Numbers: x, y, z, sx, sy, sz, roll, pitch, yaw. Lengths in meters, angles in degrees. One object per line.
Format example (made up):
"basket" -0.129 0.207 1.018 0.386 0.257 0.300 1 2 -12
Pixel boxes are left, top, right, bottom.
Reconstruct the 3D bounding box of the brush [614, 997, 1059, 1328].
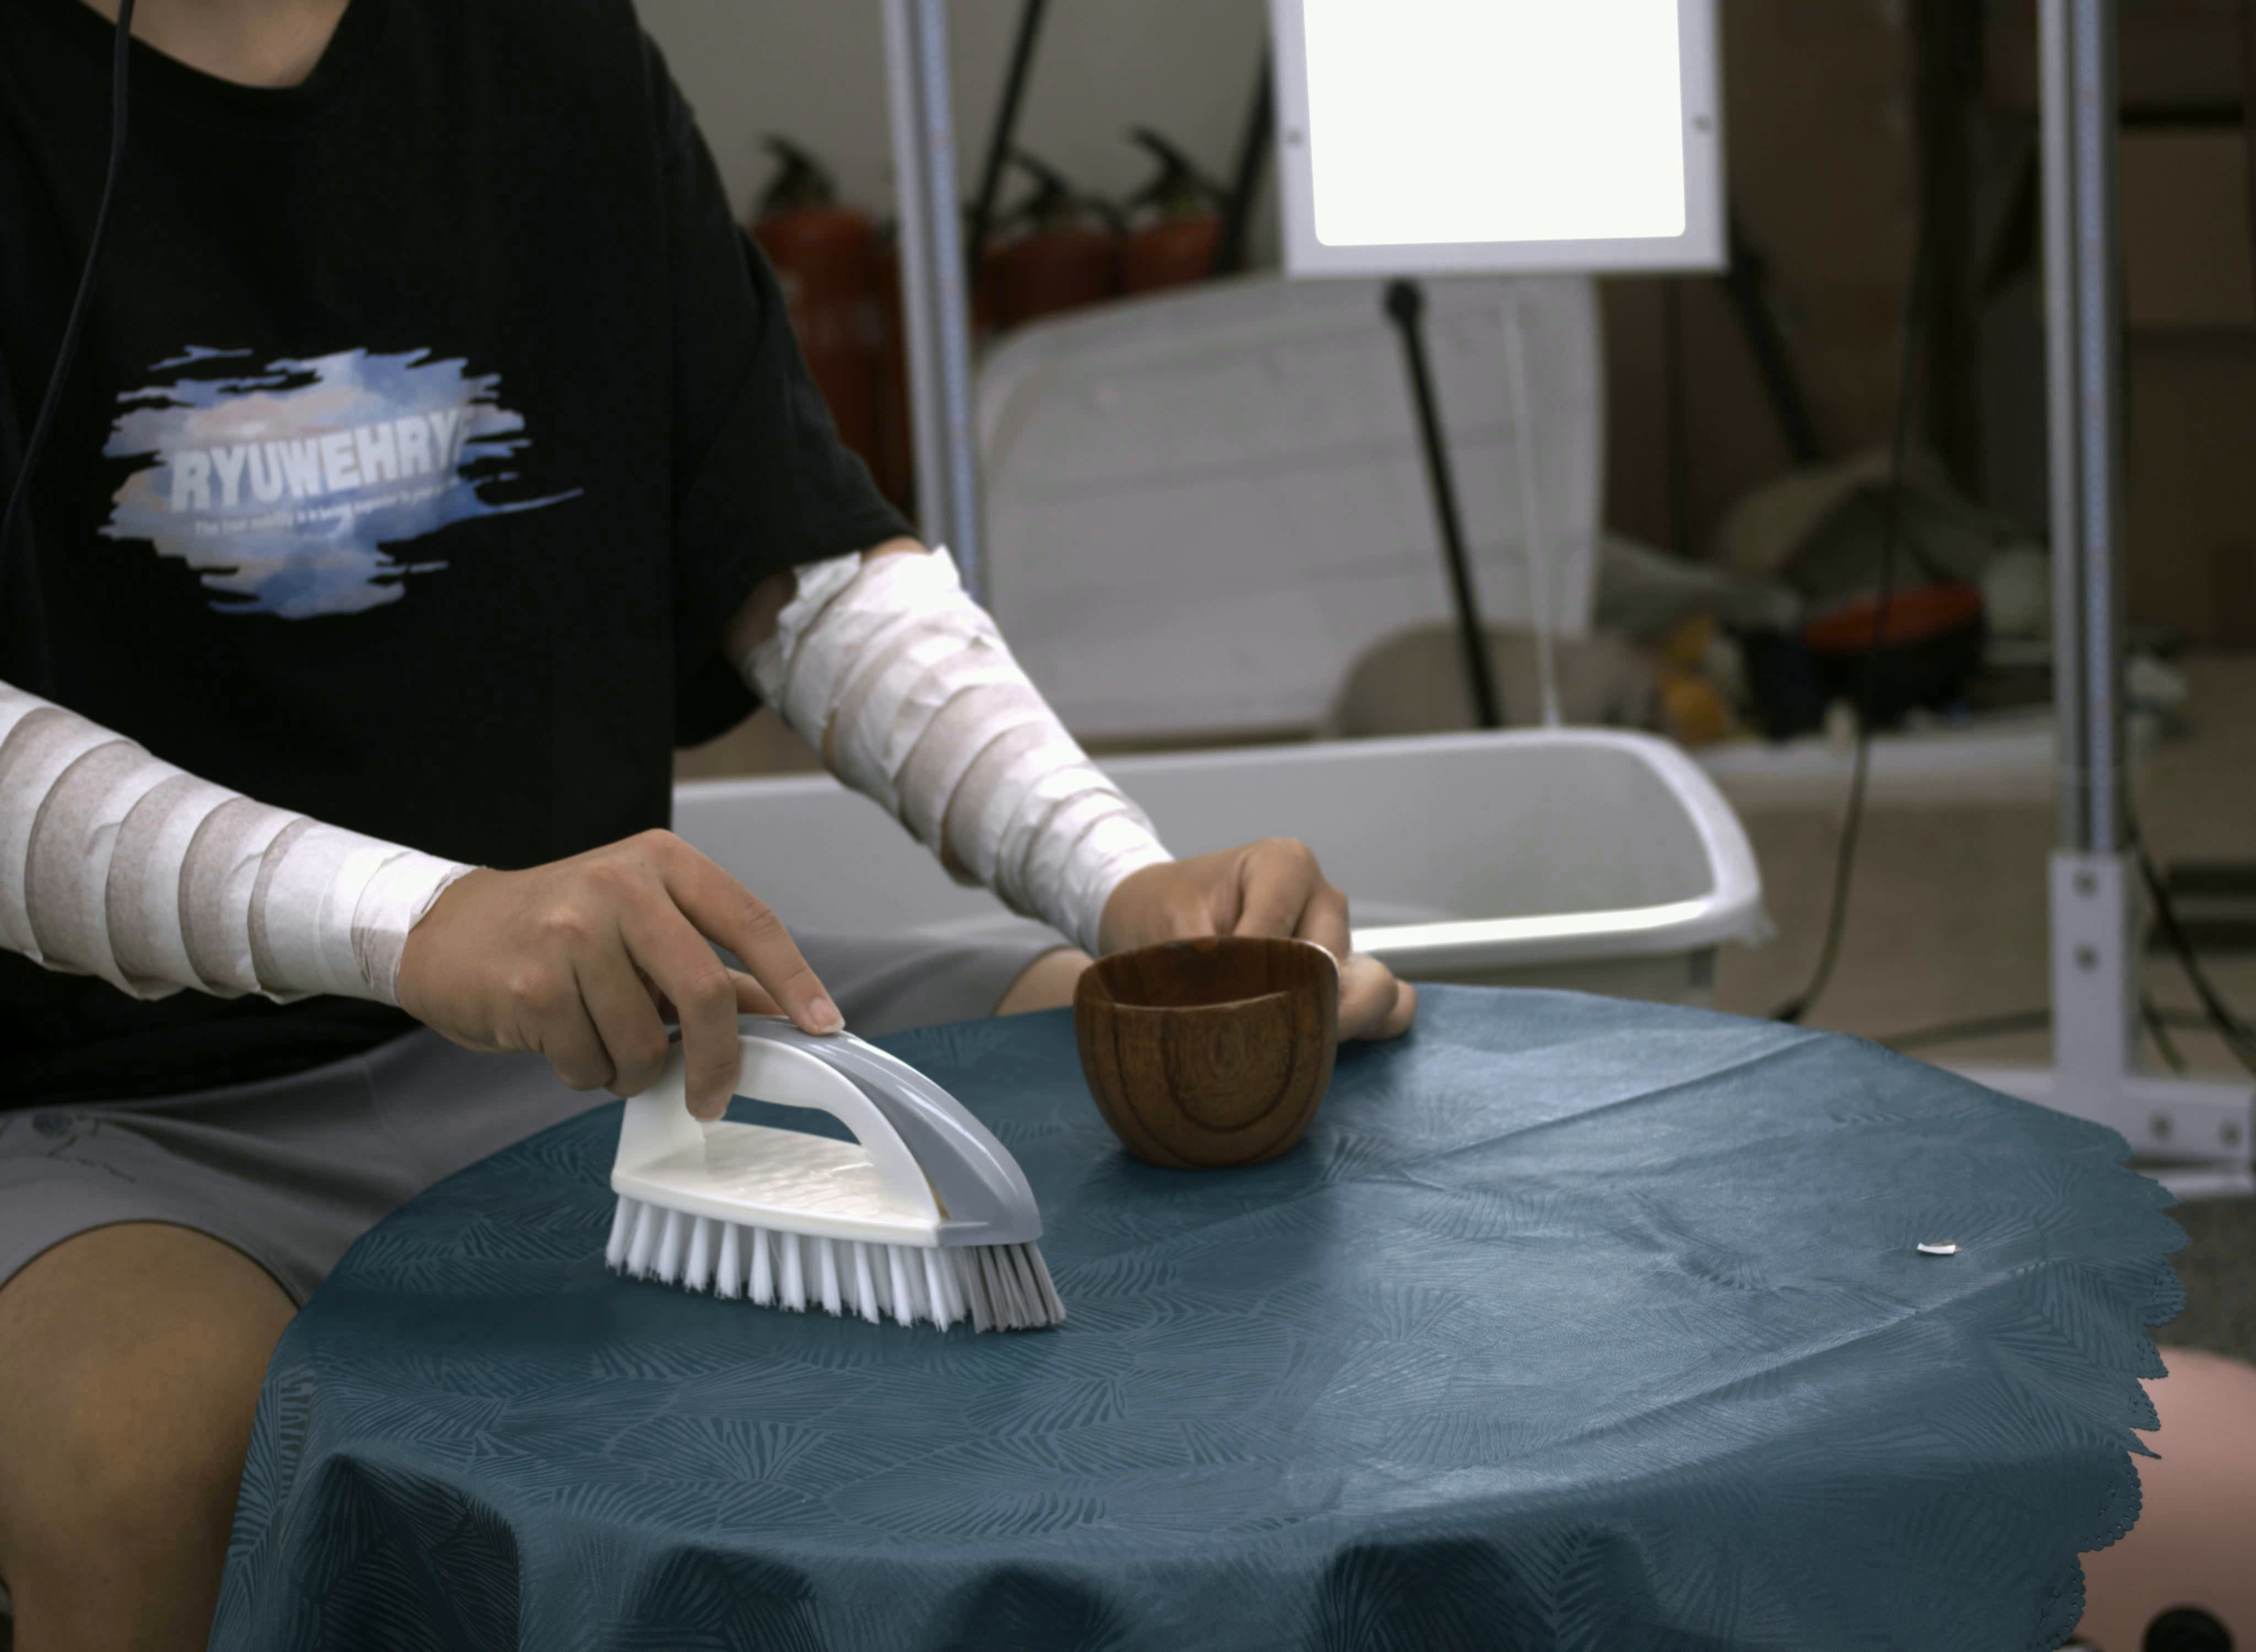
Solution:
"brush" -0.095 0.107 1.807 0.179 0.094 0.060 13 29 37

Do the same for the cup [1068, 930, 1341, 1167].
"cup" 0.030 0.077 1.949 0.096 0.068 0.119 -6 12 3
